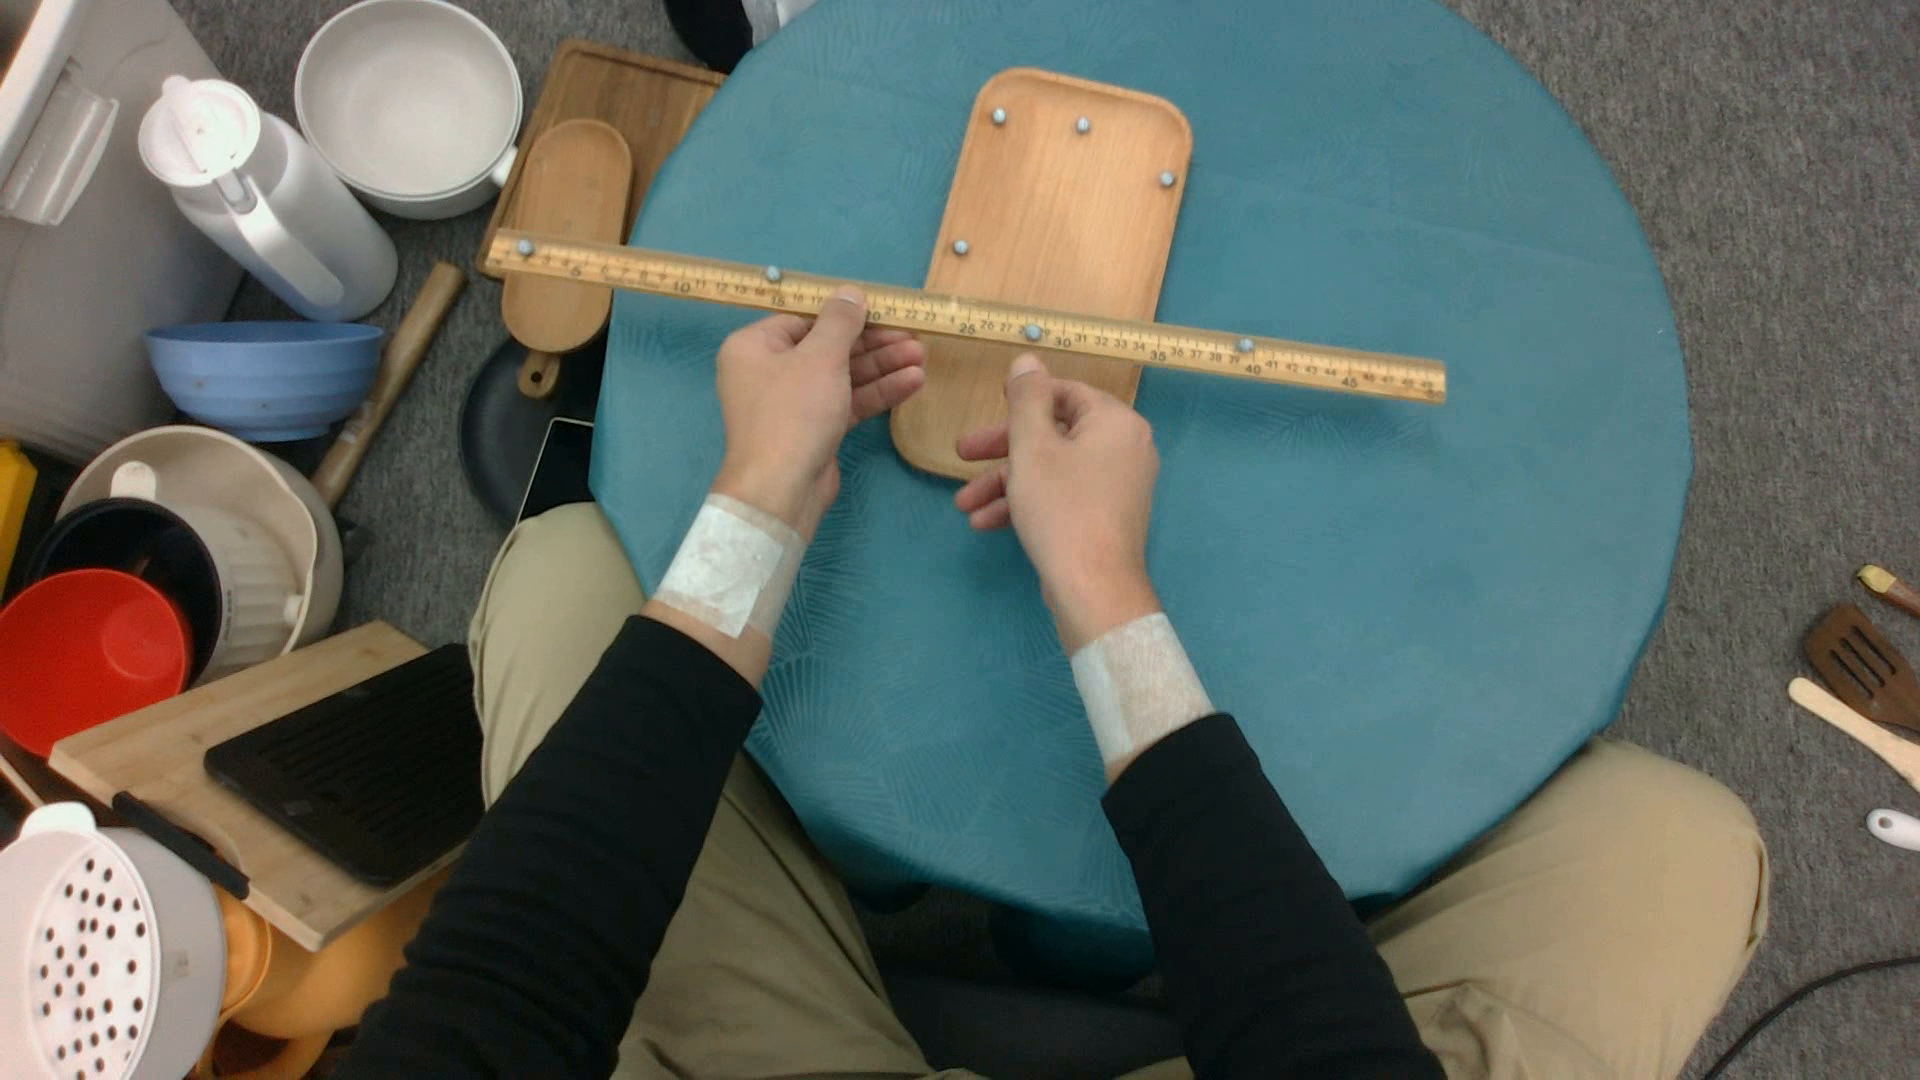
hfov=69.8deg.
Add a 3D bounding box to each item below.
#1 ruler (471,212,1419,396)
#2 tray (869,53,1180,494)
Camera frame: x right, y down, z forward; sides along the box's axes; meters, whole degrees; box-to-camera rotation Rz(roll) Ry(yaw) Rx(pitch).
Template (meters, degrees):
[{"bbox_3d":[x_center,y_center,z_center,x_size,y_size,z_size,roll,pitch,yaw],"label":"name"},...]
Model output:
[{"bbox_3d":[-0.005,-0.123,0.722,0.500,0.006,0.027,8,66,-1],"label":"ruler"},{"bbox_3d":[0.038,-0.151,0.765,0.130,0.023,0.251,14,77,4],"label":"tray"}]
